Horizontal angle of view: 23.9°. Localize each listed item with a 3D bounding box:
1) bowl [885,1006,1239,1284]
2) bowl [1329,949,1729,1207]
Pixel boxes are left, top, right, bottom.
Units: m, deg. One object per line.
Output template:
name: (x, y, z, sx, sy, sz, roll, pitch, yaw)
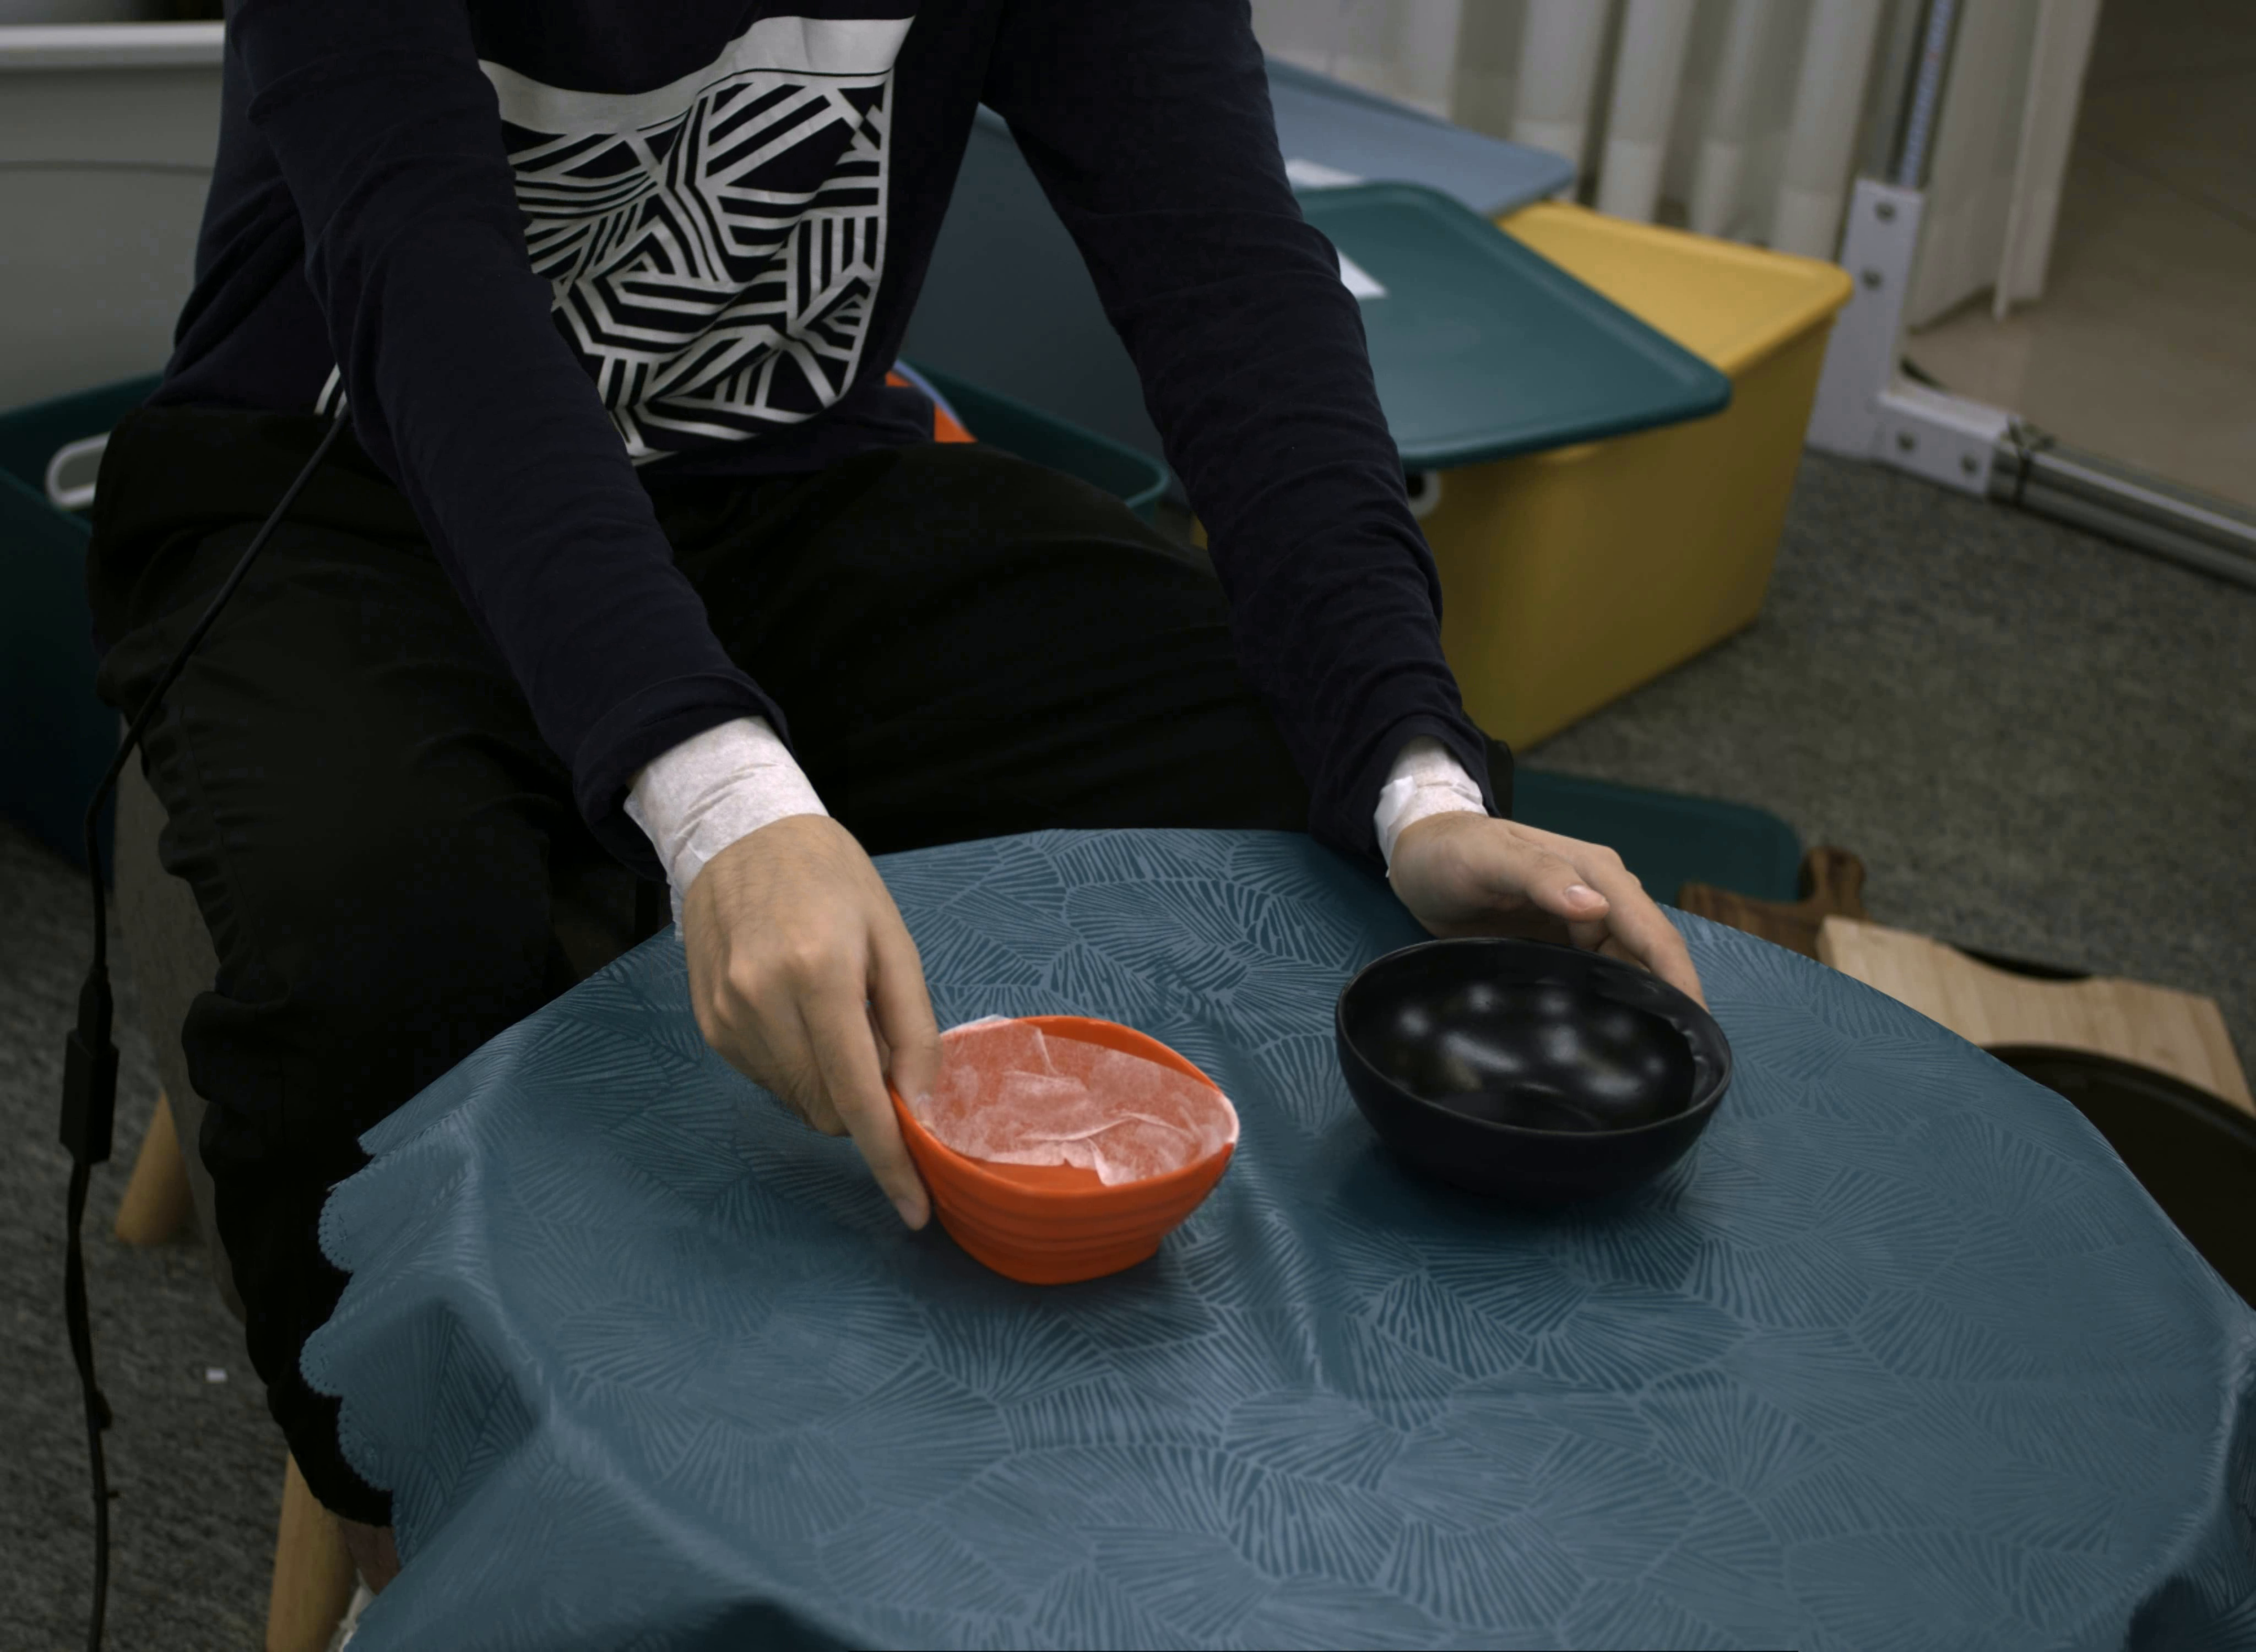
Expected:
bowl: (-0.024, 0.111, 1.768, 0.118, 0.051, 0.119, 5, 29, -3)
bowl: (0.137, 0.094, 1.845, 0.139, 0.049, 0.141, 3, 24, -2)
